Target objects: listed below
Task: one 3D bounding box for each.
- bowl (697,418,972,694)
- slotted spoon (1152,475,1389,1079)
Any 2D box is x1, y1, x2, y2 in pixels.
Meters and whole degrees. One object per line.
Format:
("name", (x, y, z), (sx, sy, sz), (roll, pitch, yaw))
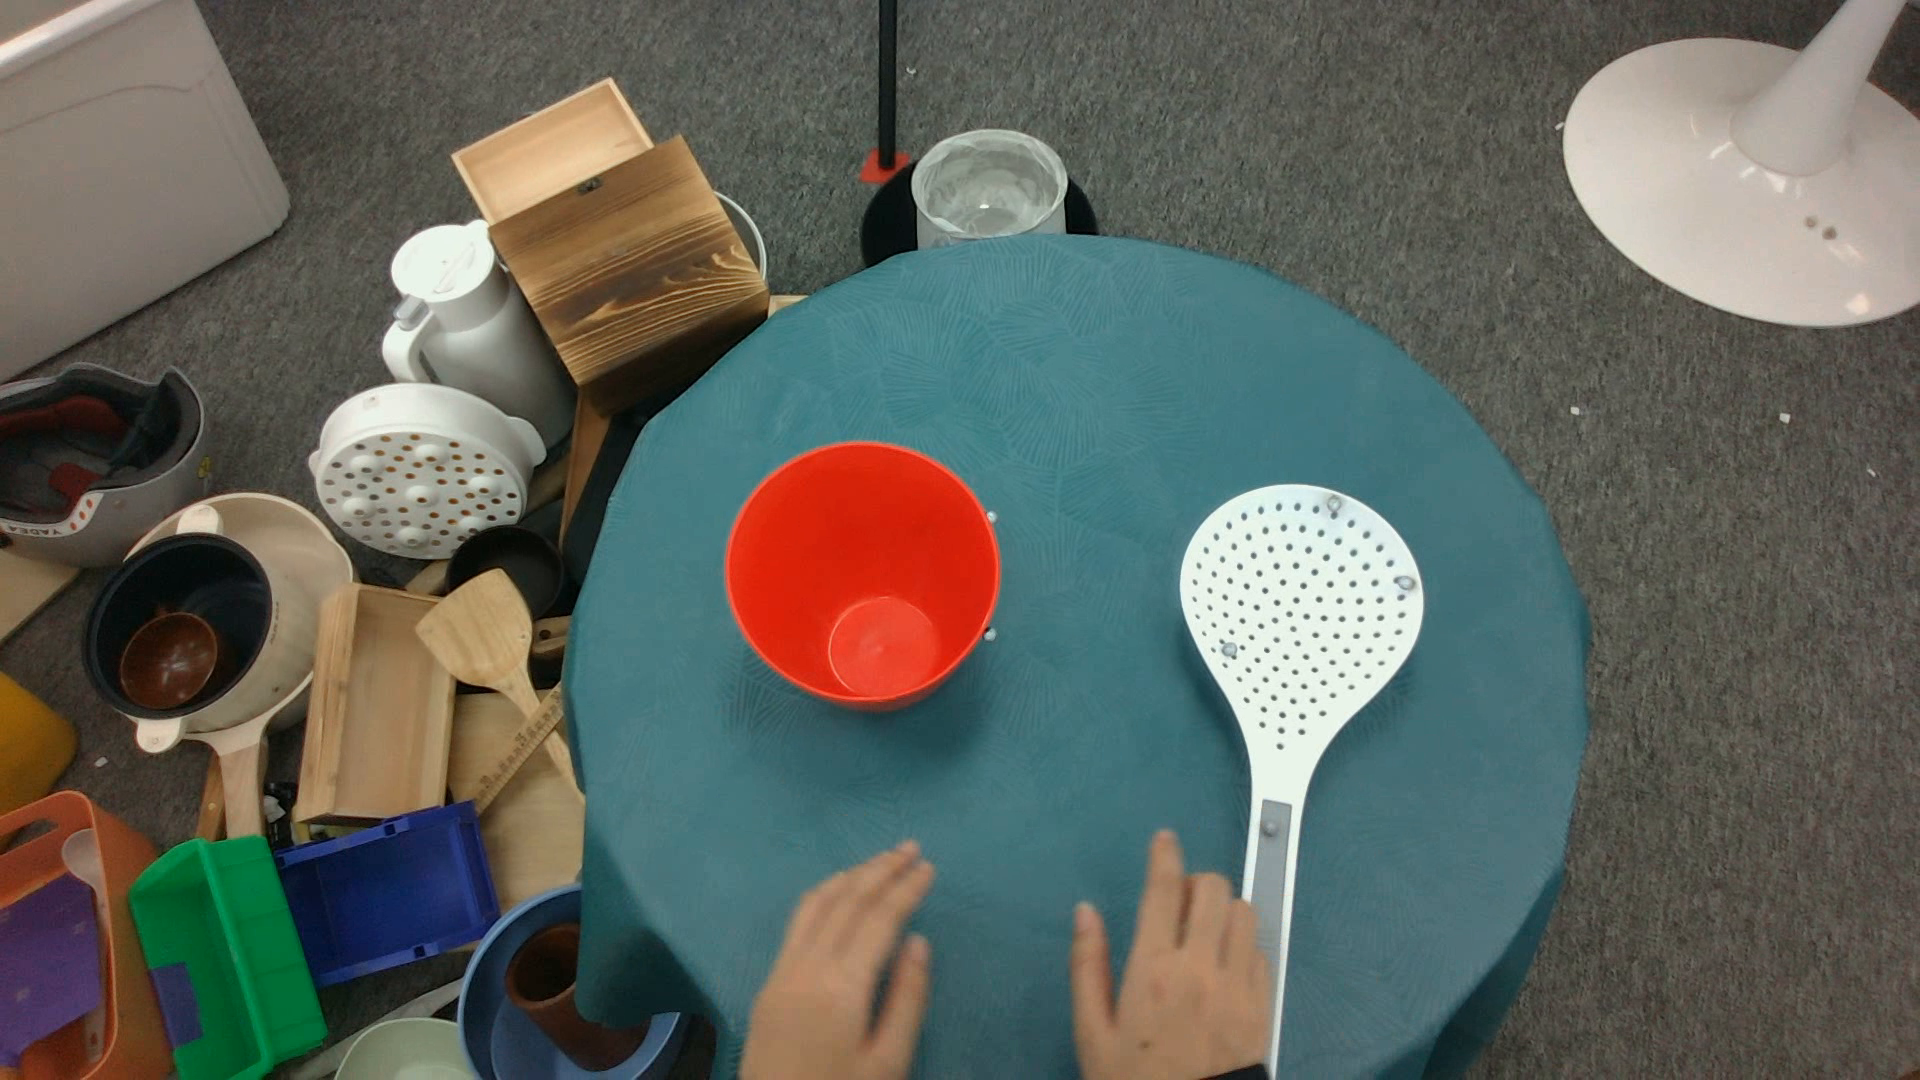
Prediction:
("bowl", (-0.071, 0.021, 0.771), (0.148, 0.104, 0.148), (4, 60, -7))
("slotted spoon", (0.157, 0.123, 0.756), (0.136, 0.045, 0.351), (10, 61, 7))
